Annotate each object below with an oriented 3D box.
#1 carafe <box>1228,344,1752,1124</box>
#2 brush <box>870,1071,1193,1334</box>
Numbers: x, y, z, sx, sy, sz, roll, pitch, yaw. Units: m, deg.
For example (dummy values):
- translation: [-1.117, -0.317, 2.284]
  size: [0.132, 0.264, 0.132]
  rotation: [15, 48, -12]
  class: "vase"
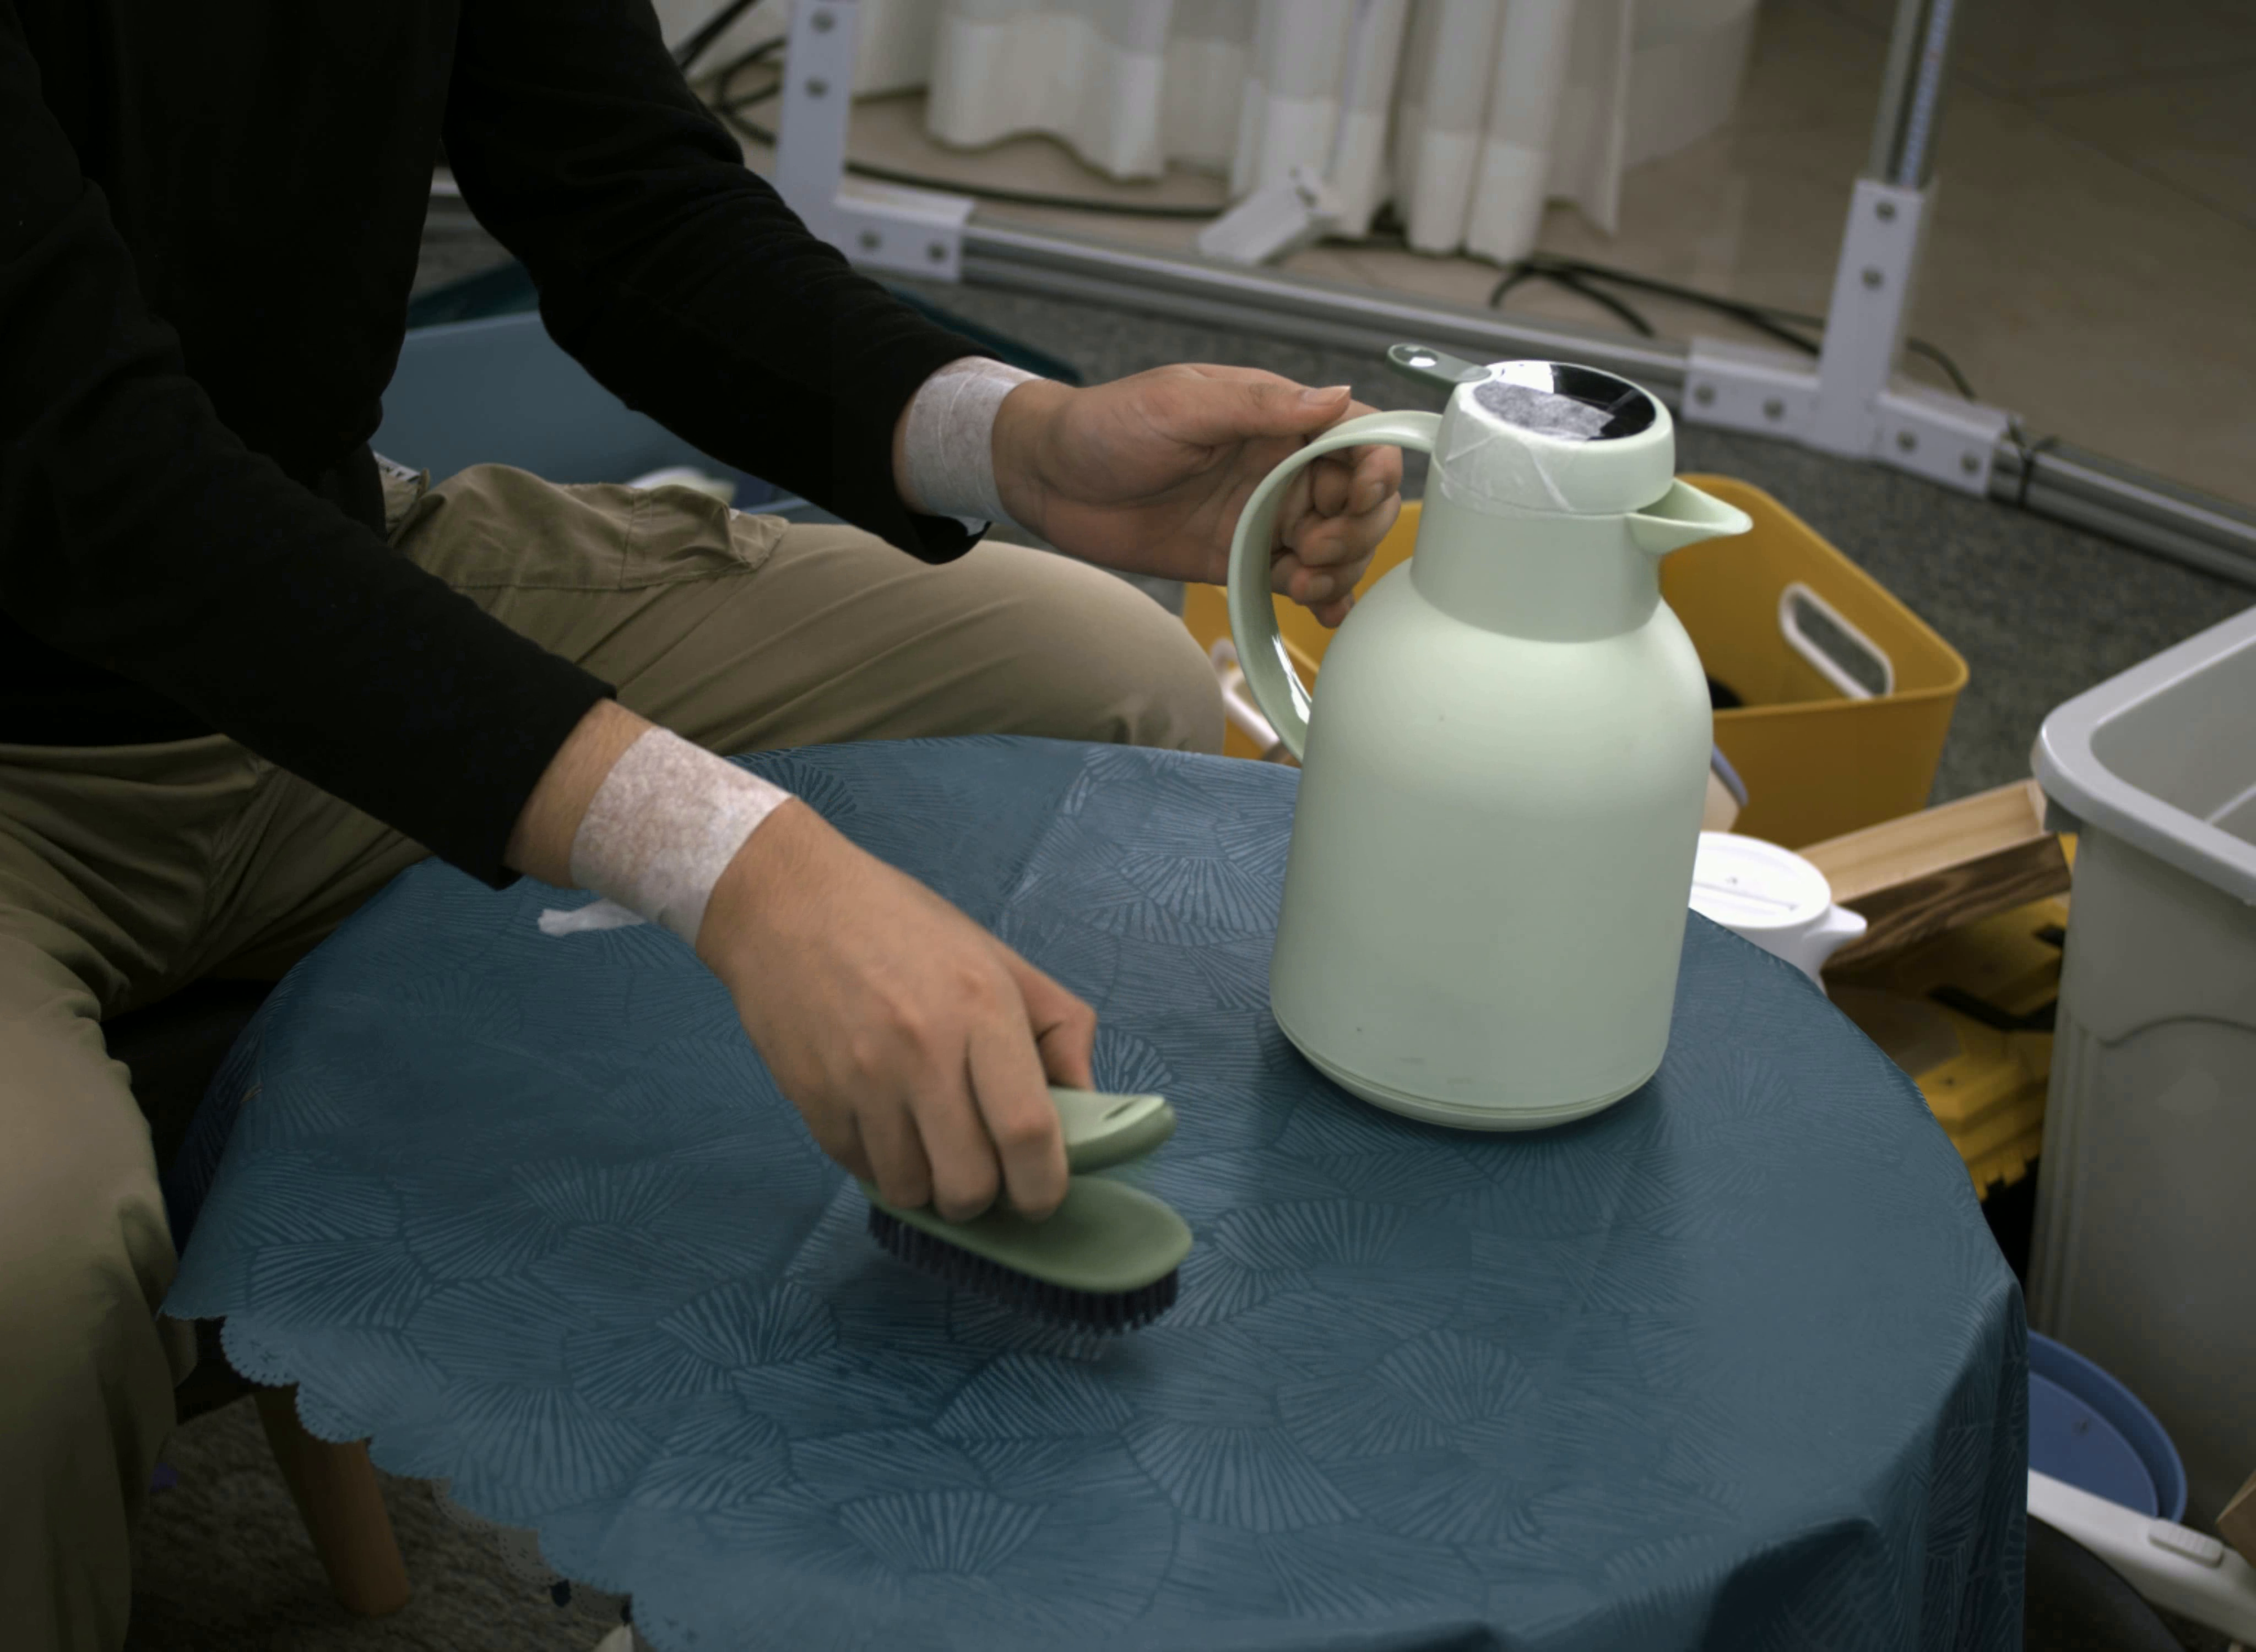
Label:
- translation: [0.120, -0.038, 1.863]
  size: [0.187, 0.256, 0.144]
  rotation: [17, 28, 24]
  class: "carafe"
- translation: [-0.030, 0.119, 1.711]
  size: [0.123, 0.075, 0.059]
  rotation: [3, 21, 46]
  class: "brush"
